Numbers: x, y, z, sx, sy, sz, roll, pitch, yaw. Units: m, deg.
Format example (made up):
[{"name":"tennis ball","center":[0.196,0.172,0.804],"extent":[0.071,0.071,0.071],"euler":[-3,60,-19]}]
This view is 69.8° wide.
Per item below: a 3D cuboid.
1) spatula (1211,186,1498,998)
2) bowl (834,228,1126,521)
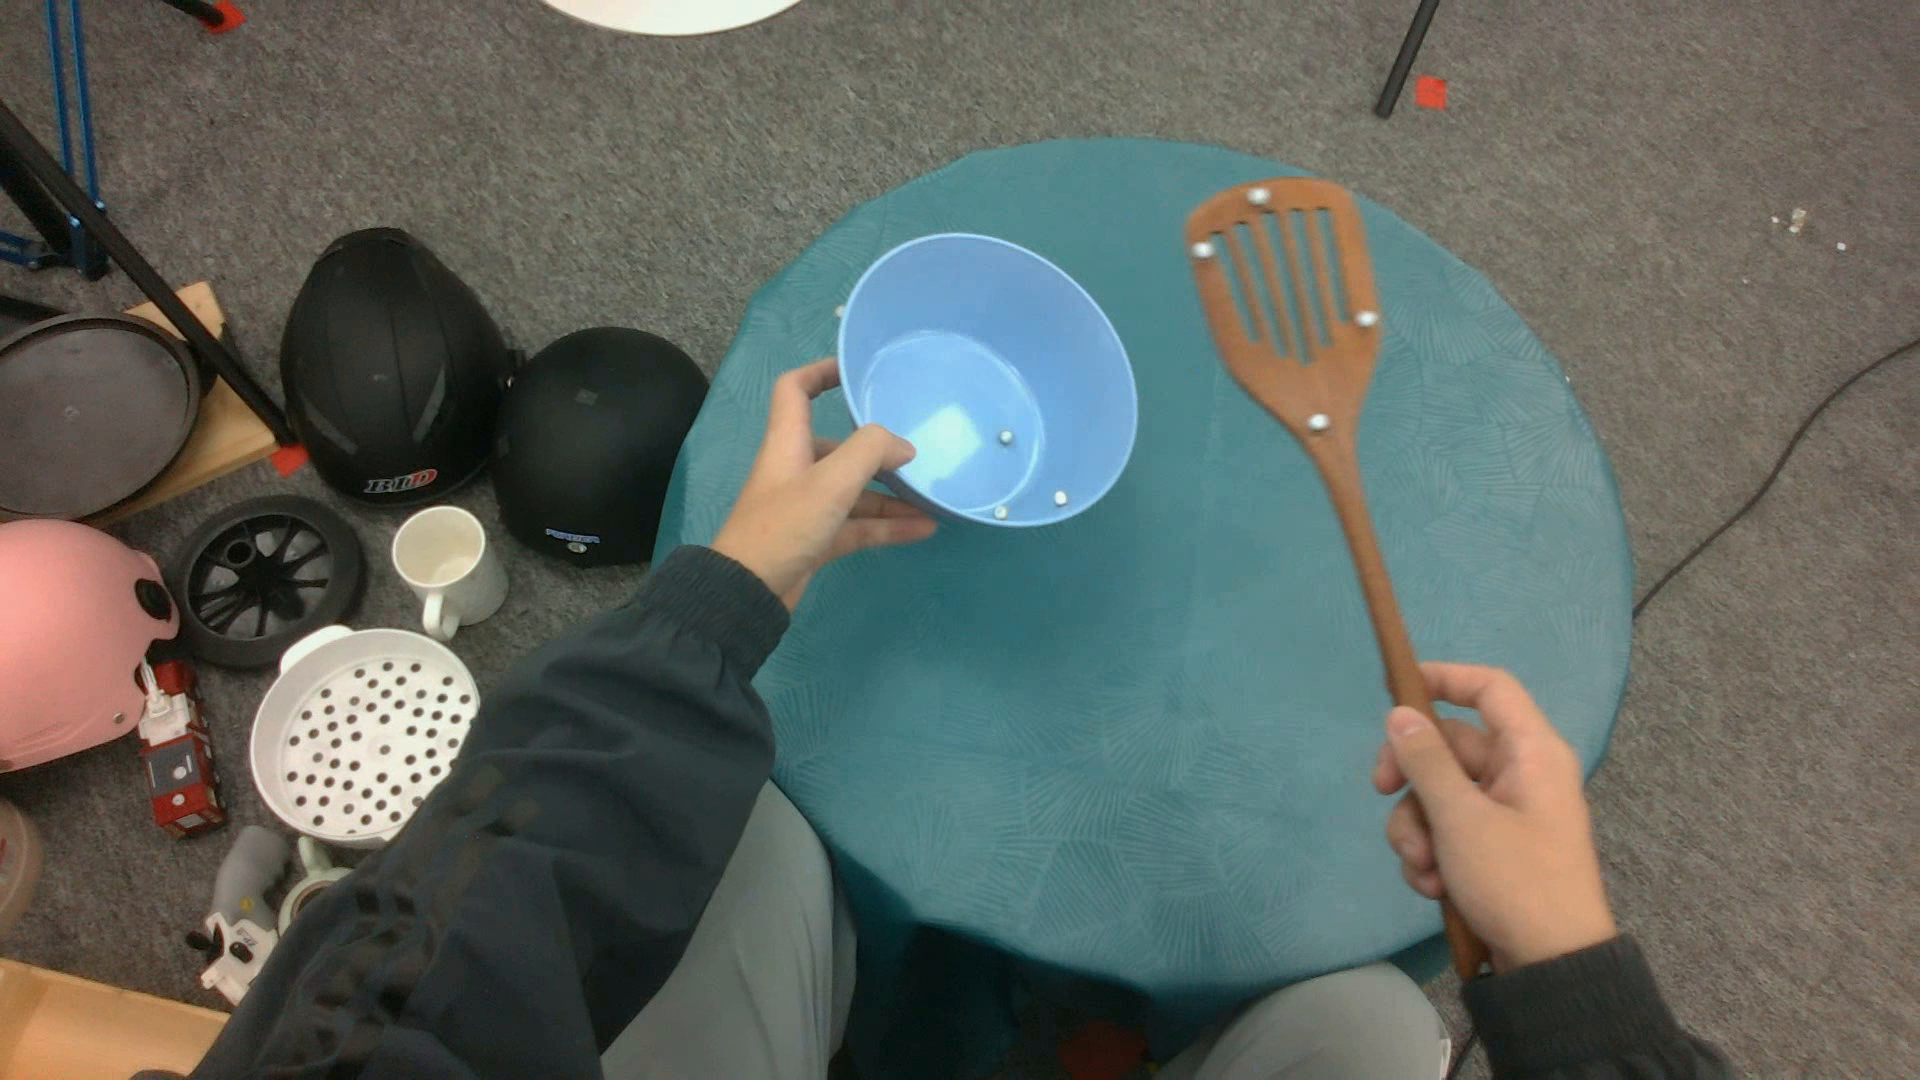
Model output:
[{"name":"spatula","center":[0.194,0.013,0.644],"extent":[0.085,0.024,0.387],"euler":[-10,75,3]},{"name":"bowl","center":[0.002,-0.083,0.777],"extent":[0.176,0.070,0.176],"euler":[9,67,-21]}]
